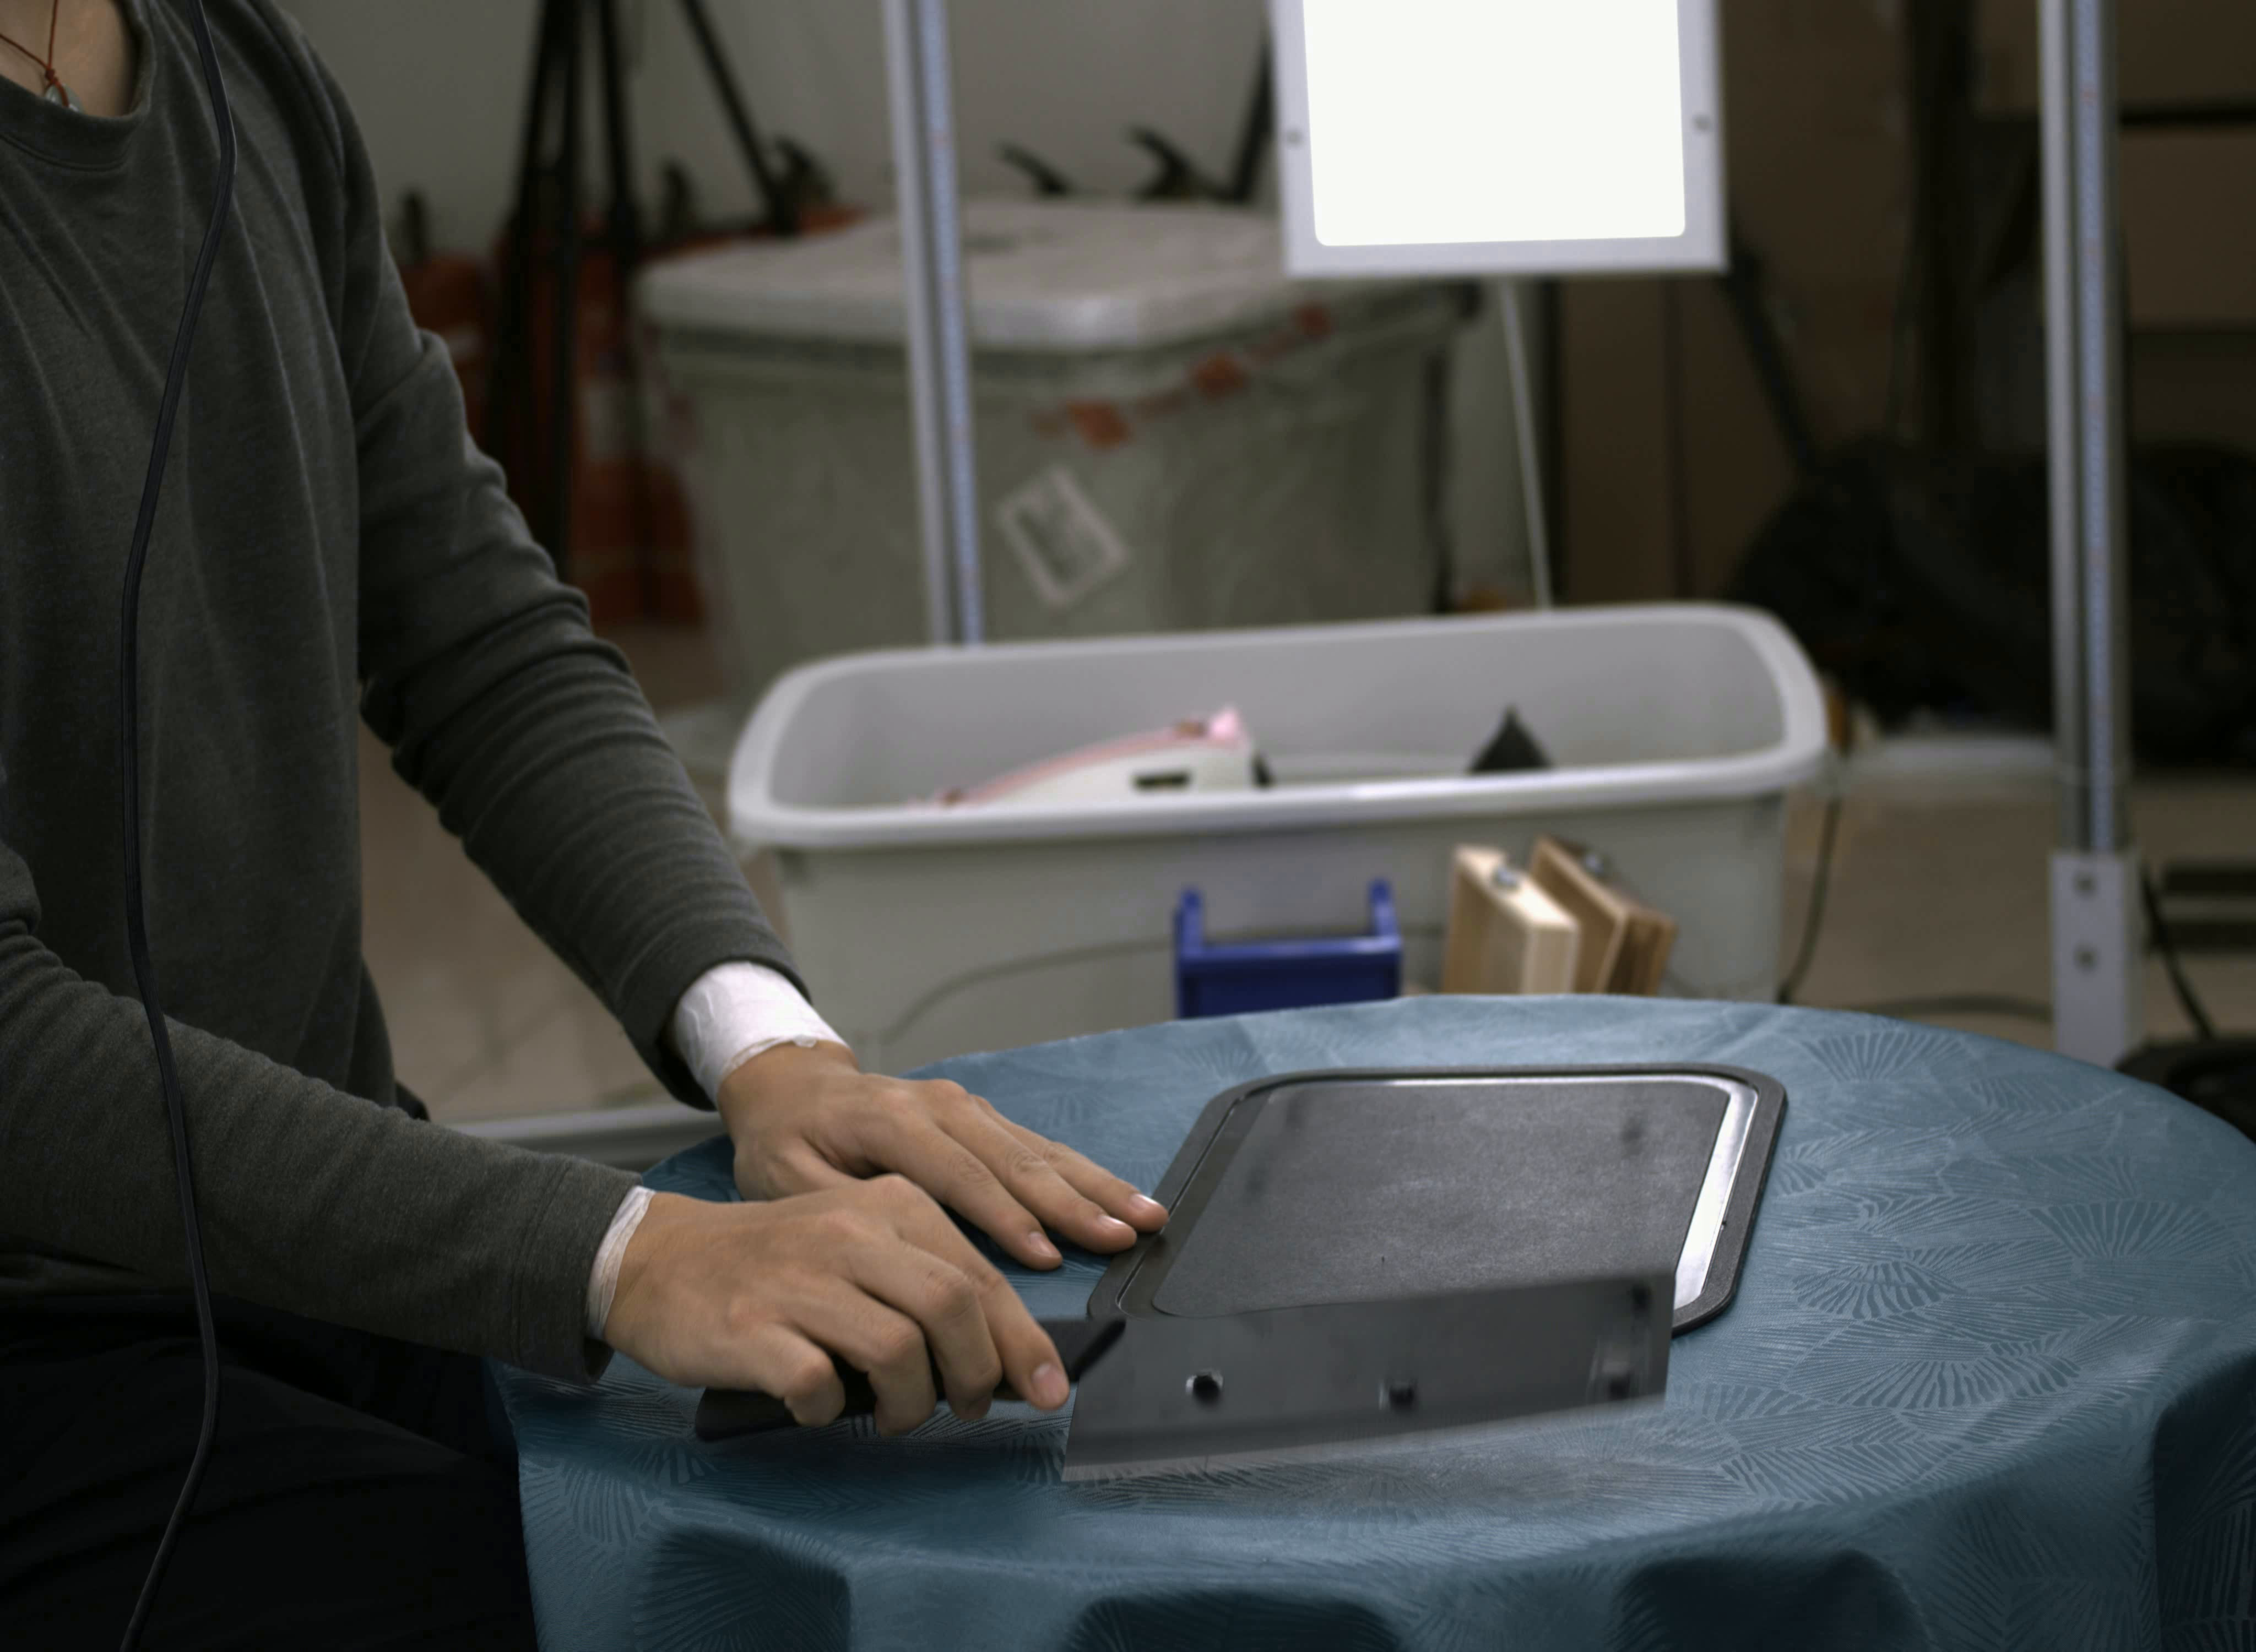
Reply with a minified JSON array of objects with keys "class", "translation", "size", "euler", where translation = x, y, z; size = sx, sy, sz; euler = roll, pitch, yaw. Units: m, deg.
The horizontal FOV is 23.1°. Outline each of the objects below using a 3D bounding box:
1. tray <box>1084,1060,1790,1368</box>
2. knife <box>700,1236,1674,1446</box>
[{"class":"tray","translation":[0.109,0.127,1.851],"size":[0.213,0.010,0.321],"euler":[-2,14,14]},{"class":"knife","translation":[0.016,0.159,1.635],"size":[0.306,0.021,0.080],"euler":[-7,32,20]}]
